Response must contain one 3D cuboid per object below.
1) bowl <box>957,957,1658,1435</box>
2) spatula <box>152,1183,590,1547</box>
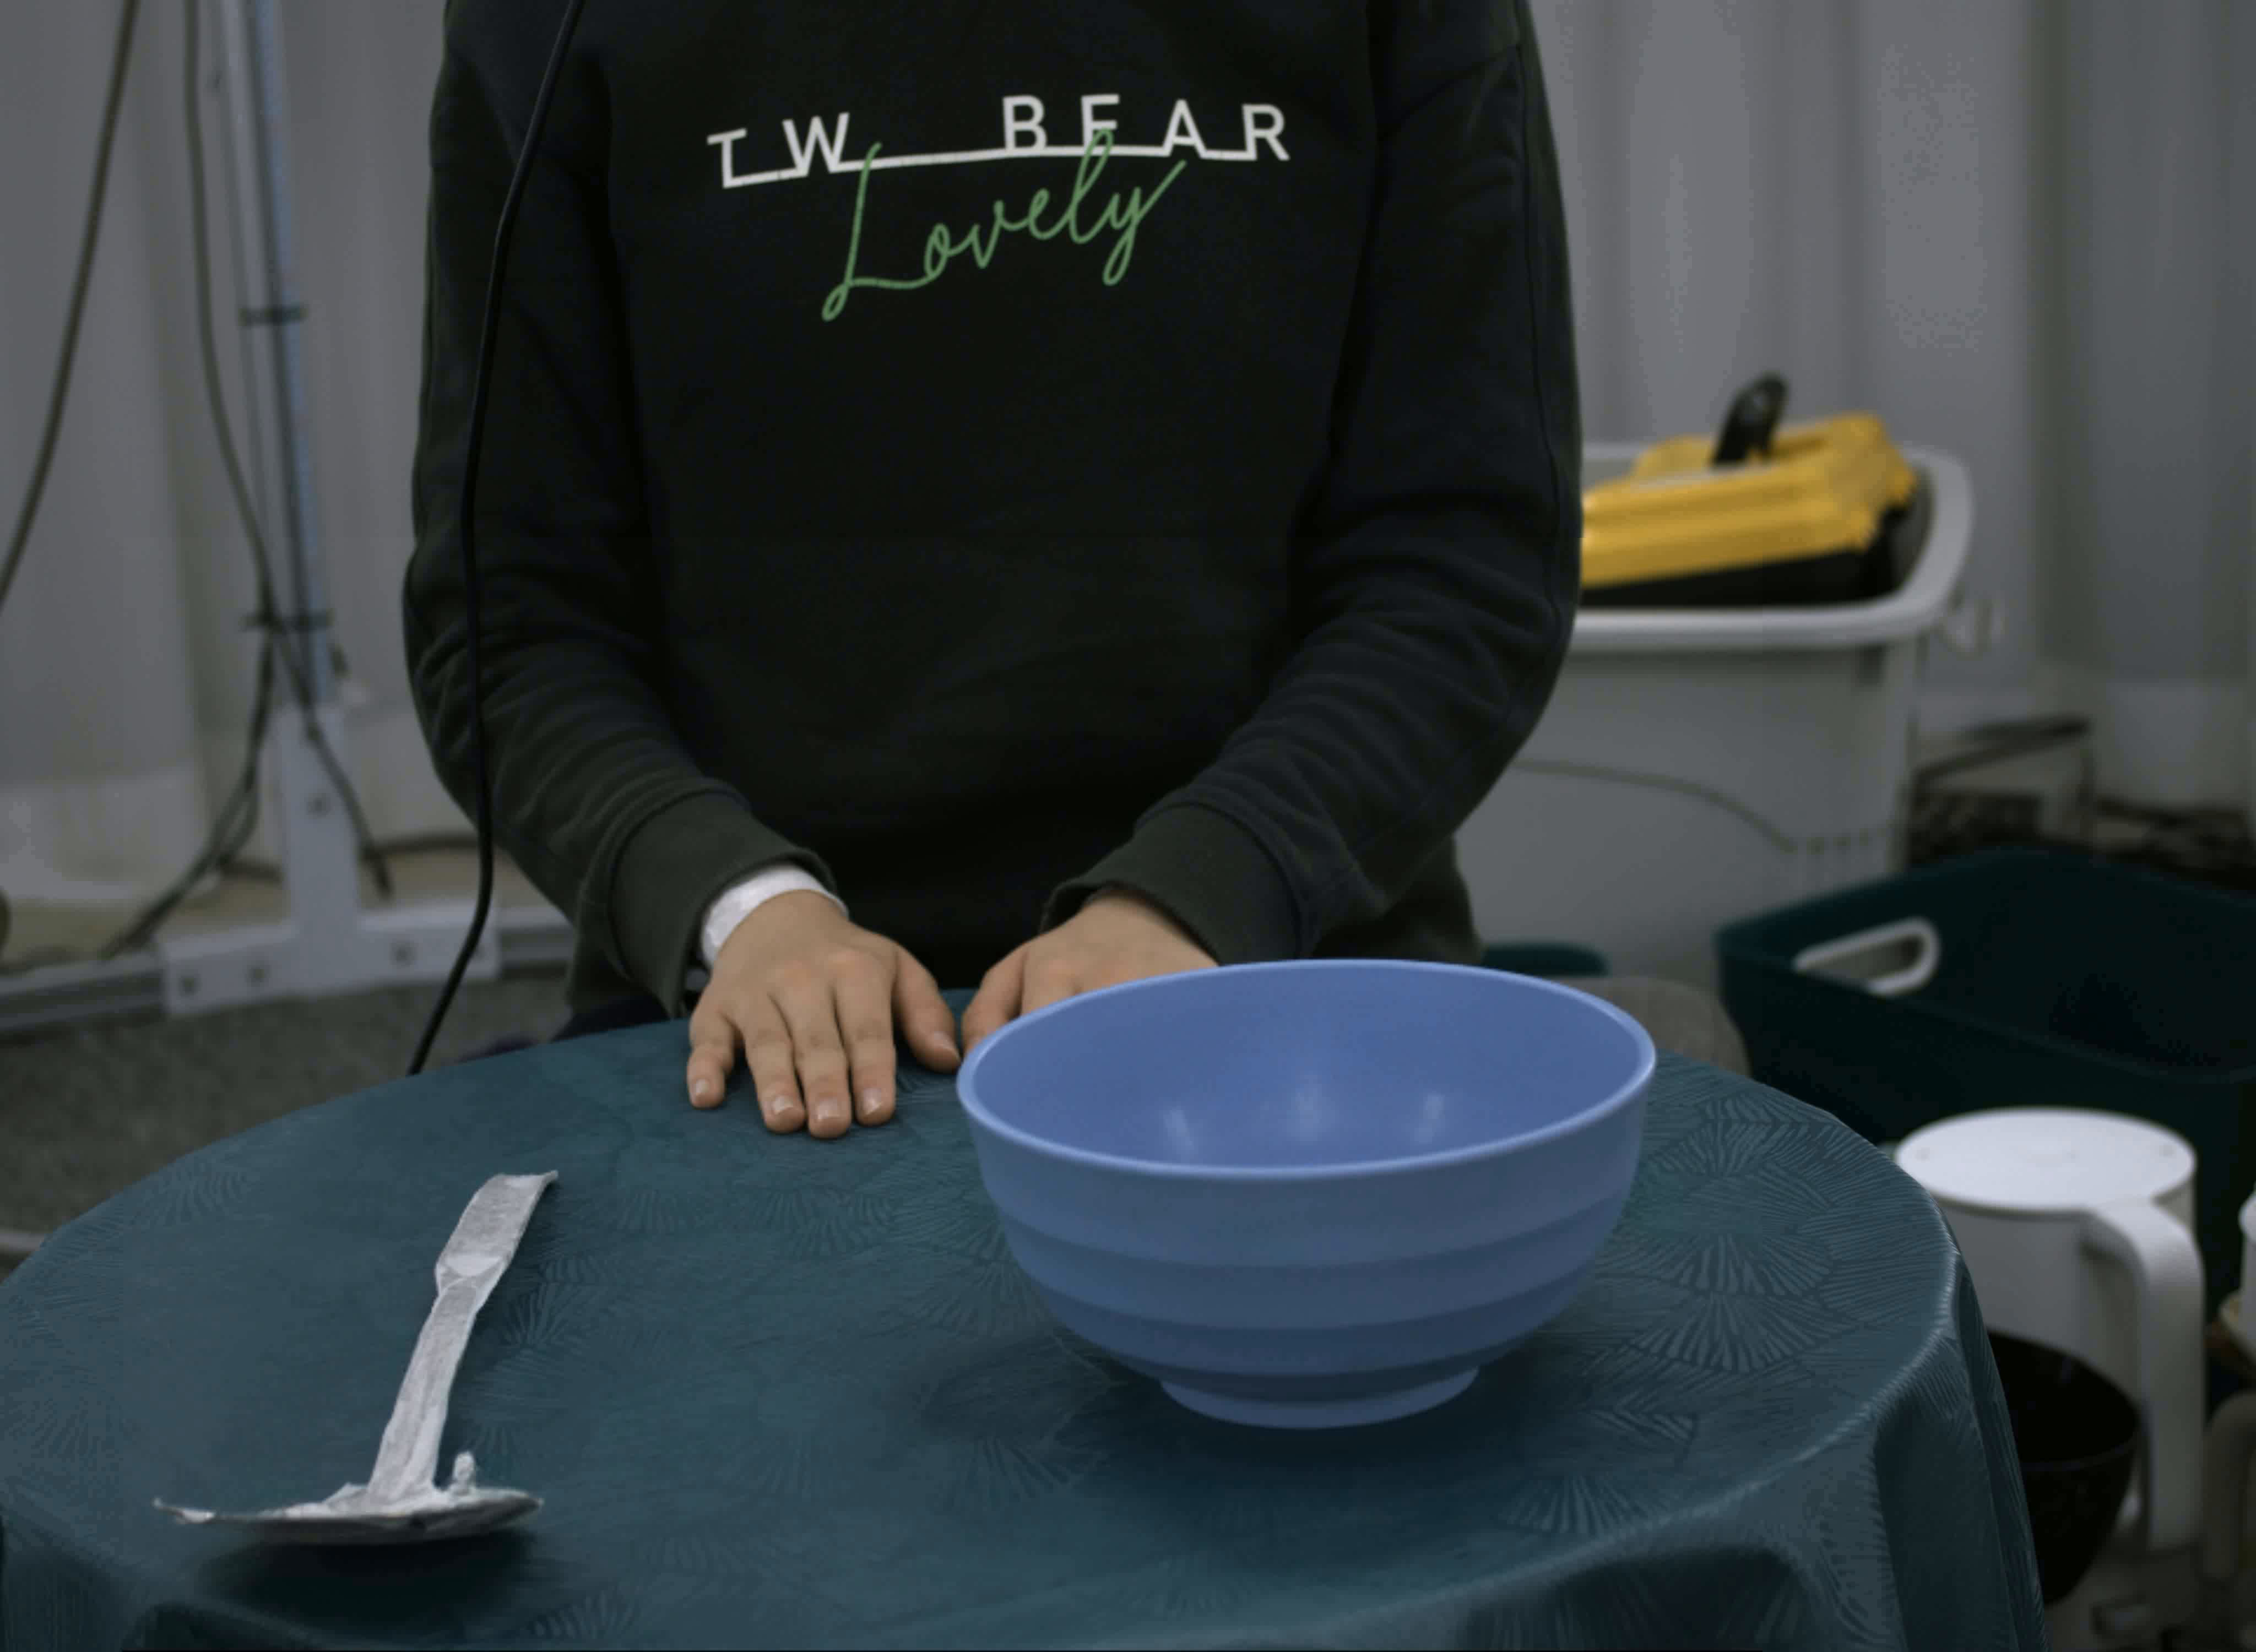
[{"bbox_3d":[0.052,0.111,1.540,0.196,0.095,0.198,-3,15,1],"label":"bowl"},{"bbox_3d":[-0.193,0.145,1.562,0.098,0.044,0.367,-4,15,4],"label":"spatula"}]
